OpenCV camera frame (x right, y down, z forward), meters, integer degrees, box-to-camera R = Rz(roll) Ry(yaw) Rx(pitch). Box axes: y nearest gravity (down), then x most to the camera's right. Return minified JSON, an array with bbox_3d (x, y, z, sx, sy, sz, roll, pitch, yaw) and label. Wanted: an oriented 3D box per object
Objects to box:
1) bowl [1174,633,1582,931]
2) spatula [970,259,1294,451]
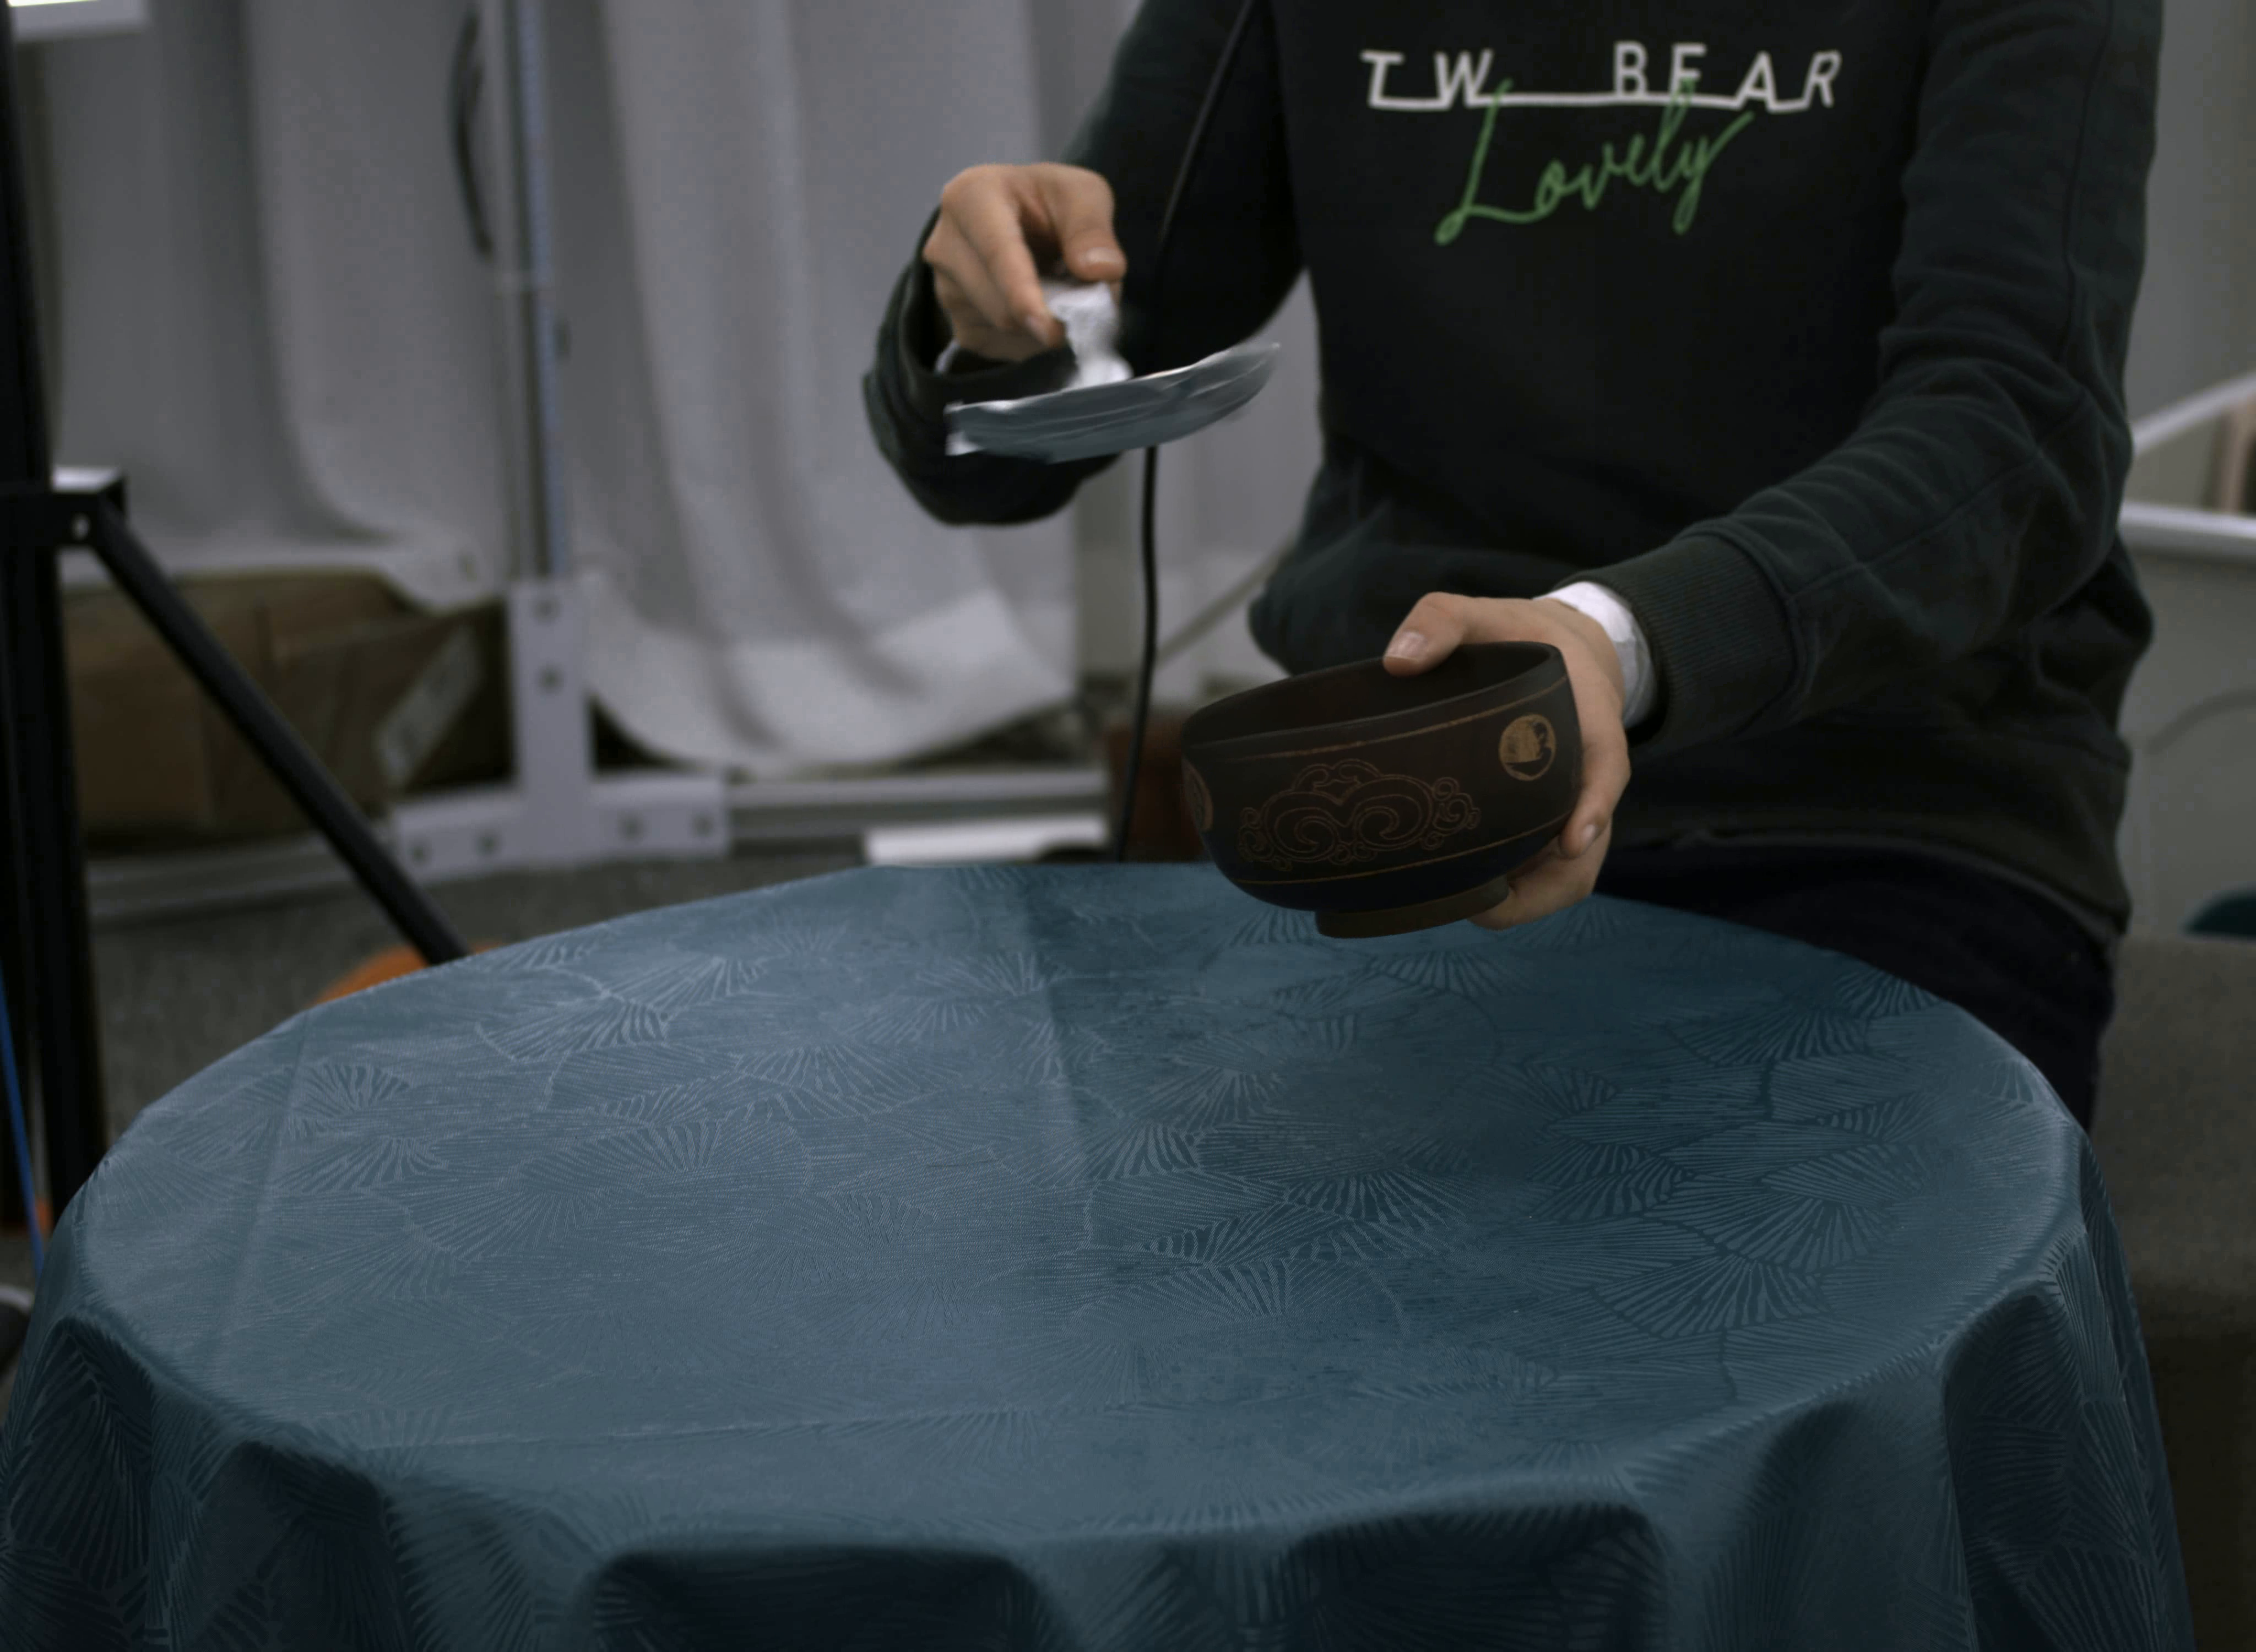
[{"bbox_3d":[0.076,-0.010,1.549,0.117,0.070,0.118,-11,9,0],"label":"bowl"},{"bbox_3d":[-0.006,-0.162,1.711,0.098,0.044,0.367,-14,16,0],"label":"spatula"}]
